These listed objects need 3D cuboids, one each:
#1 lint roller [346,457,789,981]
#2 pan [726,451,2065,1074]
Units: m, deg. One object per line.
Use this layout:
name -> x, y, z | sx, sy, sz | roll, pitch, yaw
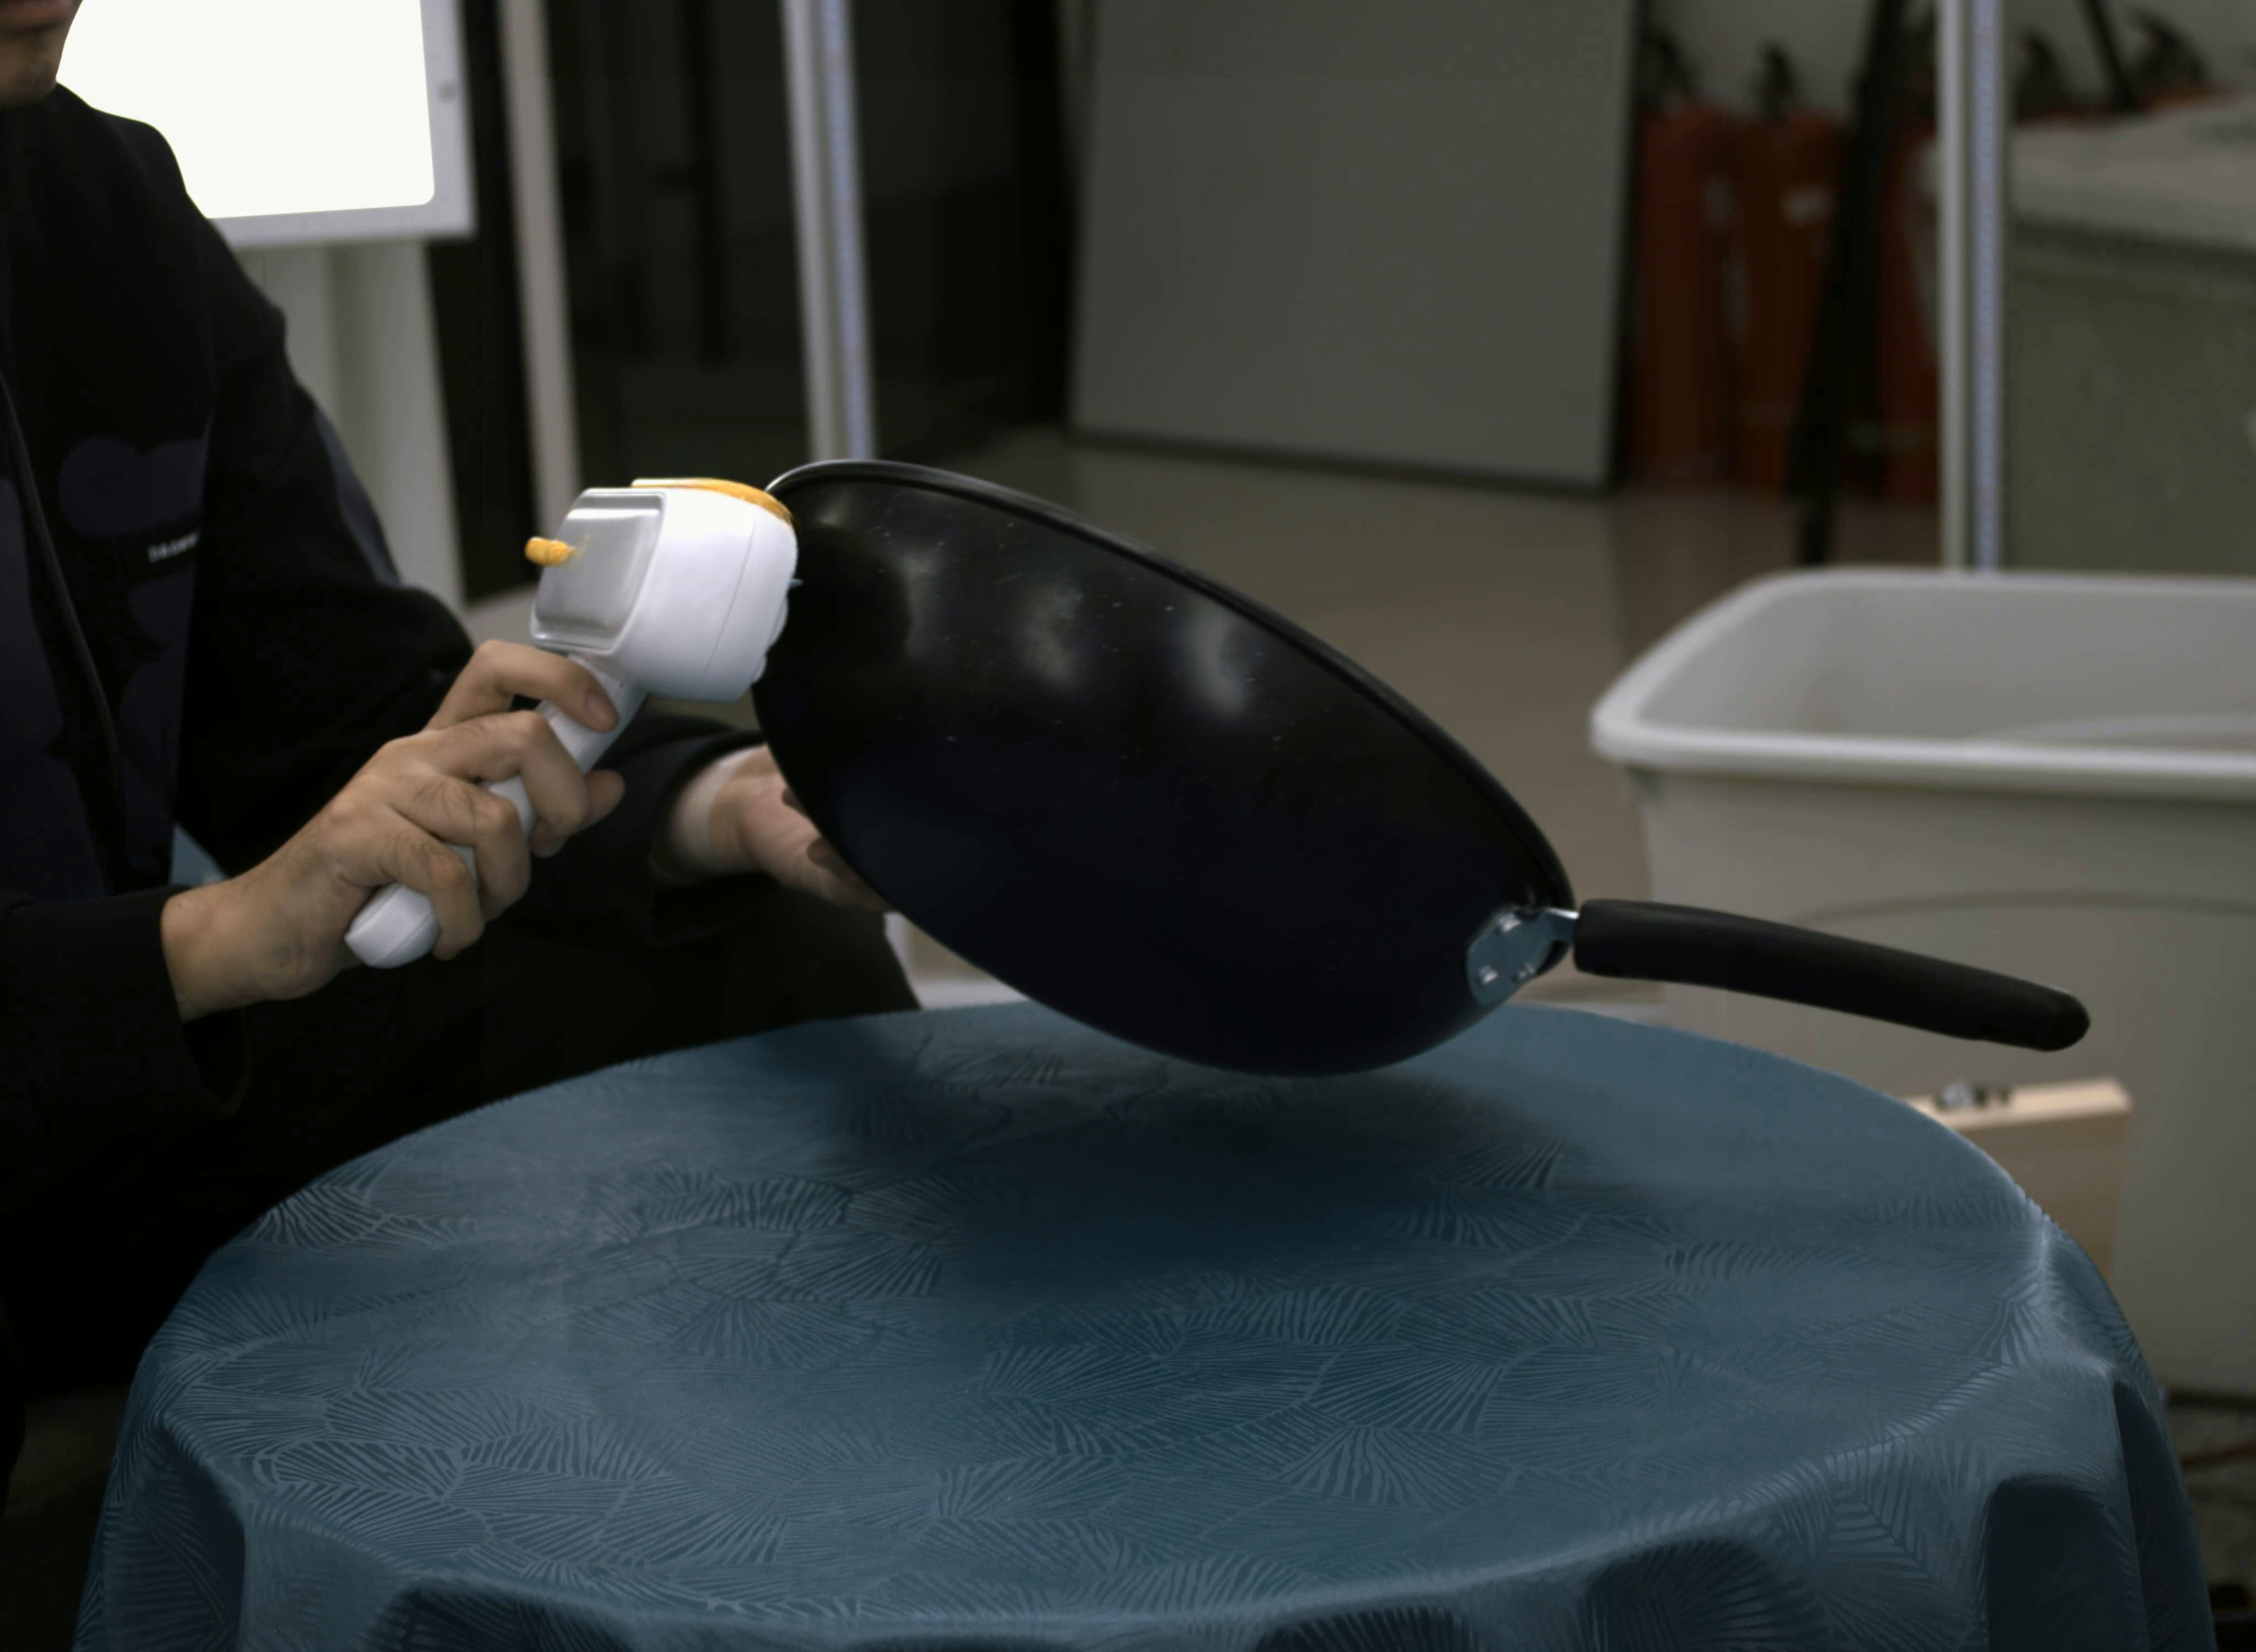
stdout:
lint roller -> -0.187, -0.029, 1.758 | 0.073, 0.193, 0.194 | 28, -9, -19
pan -> 0.064, 0.019, 1.748 | 0.478, 0.112, 0.308 | 22, -18, 21
